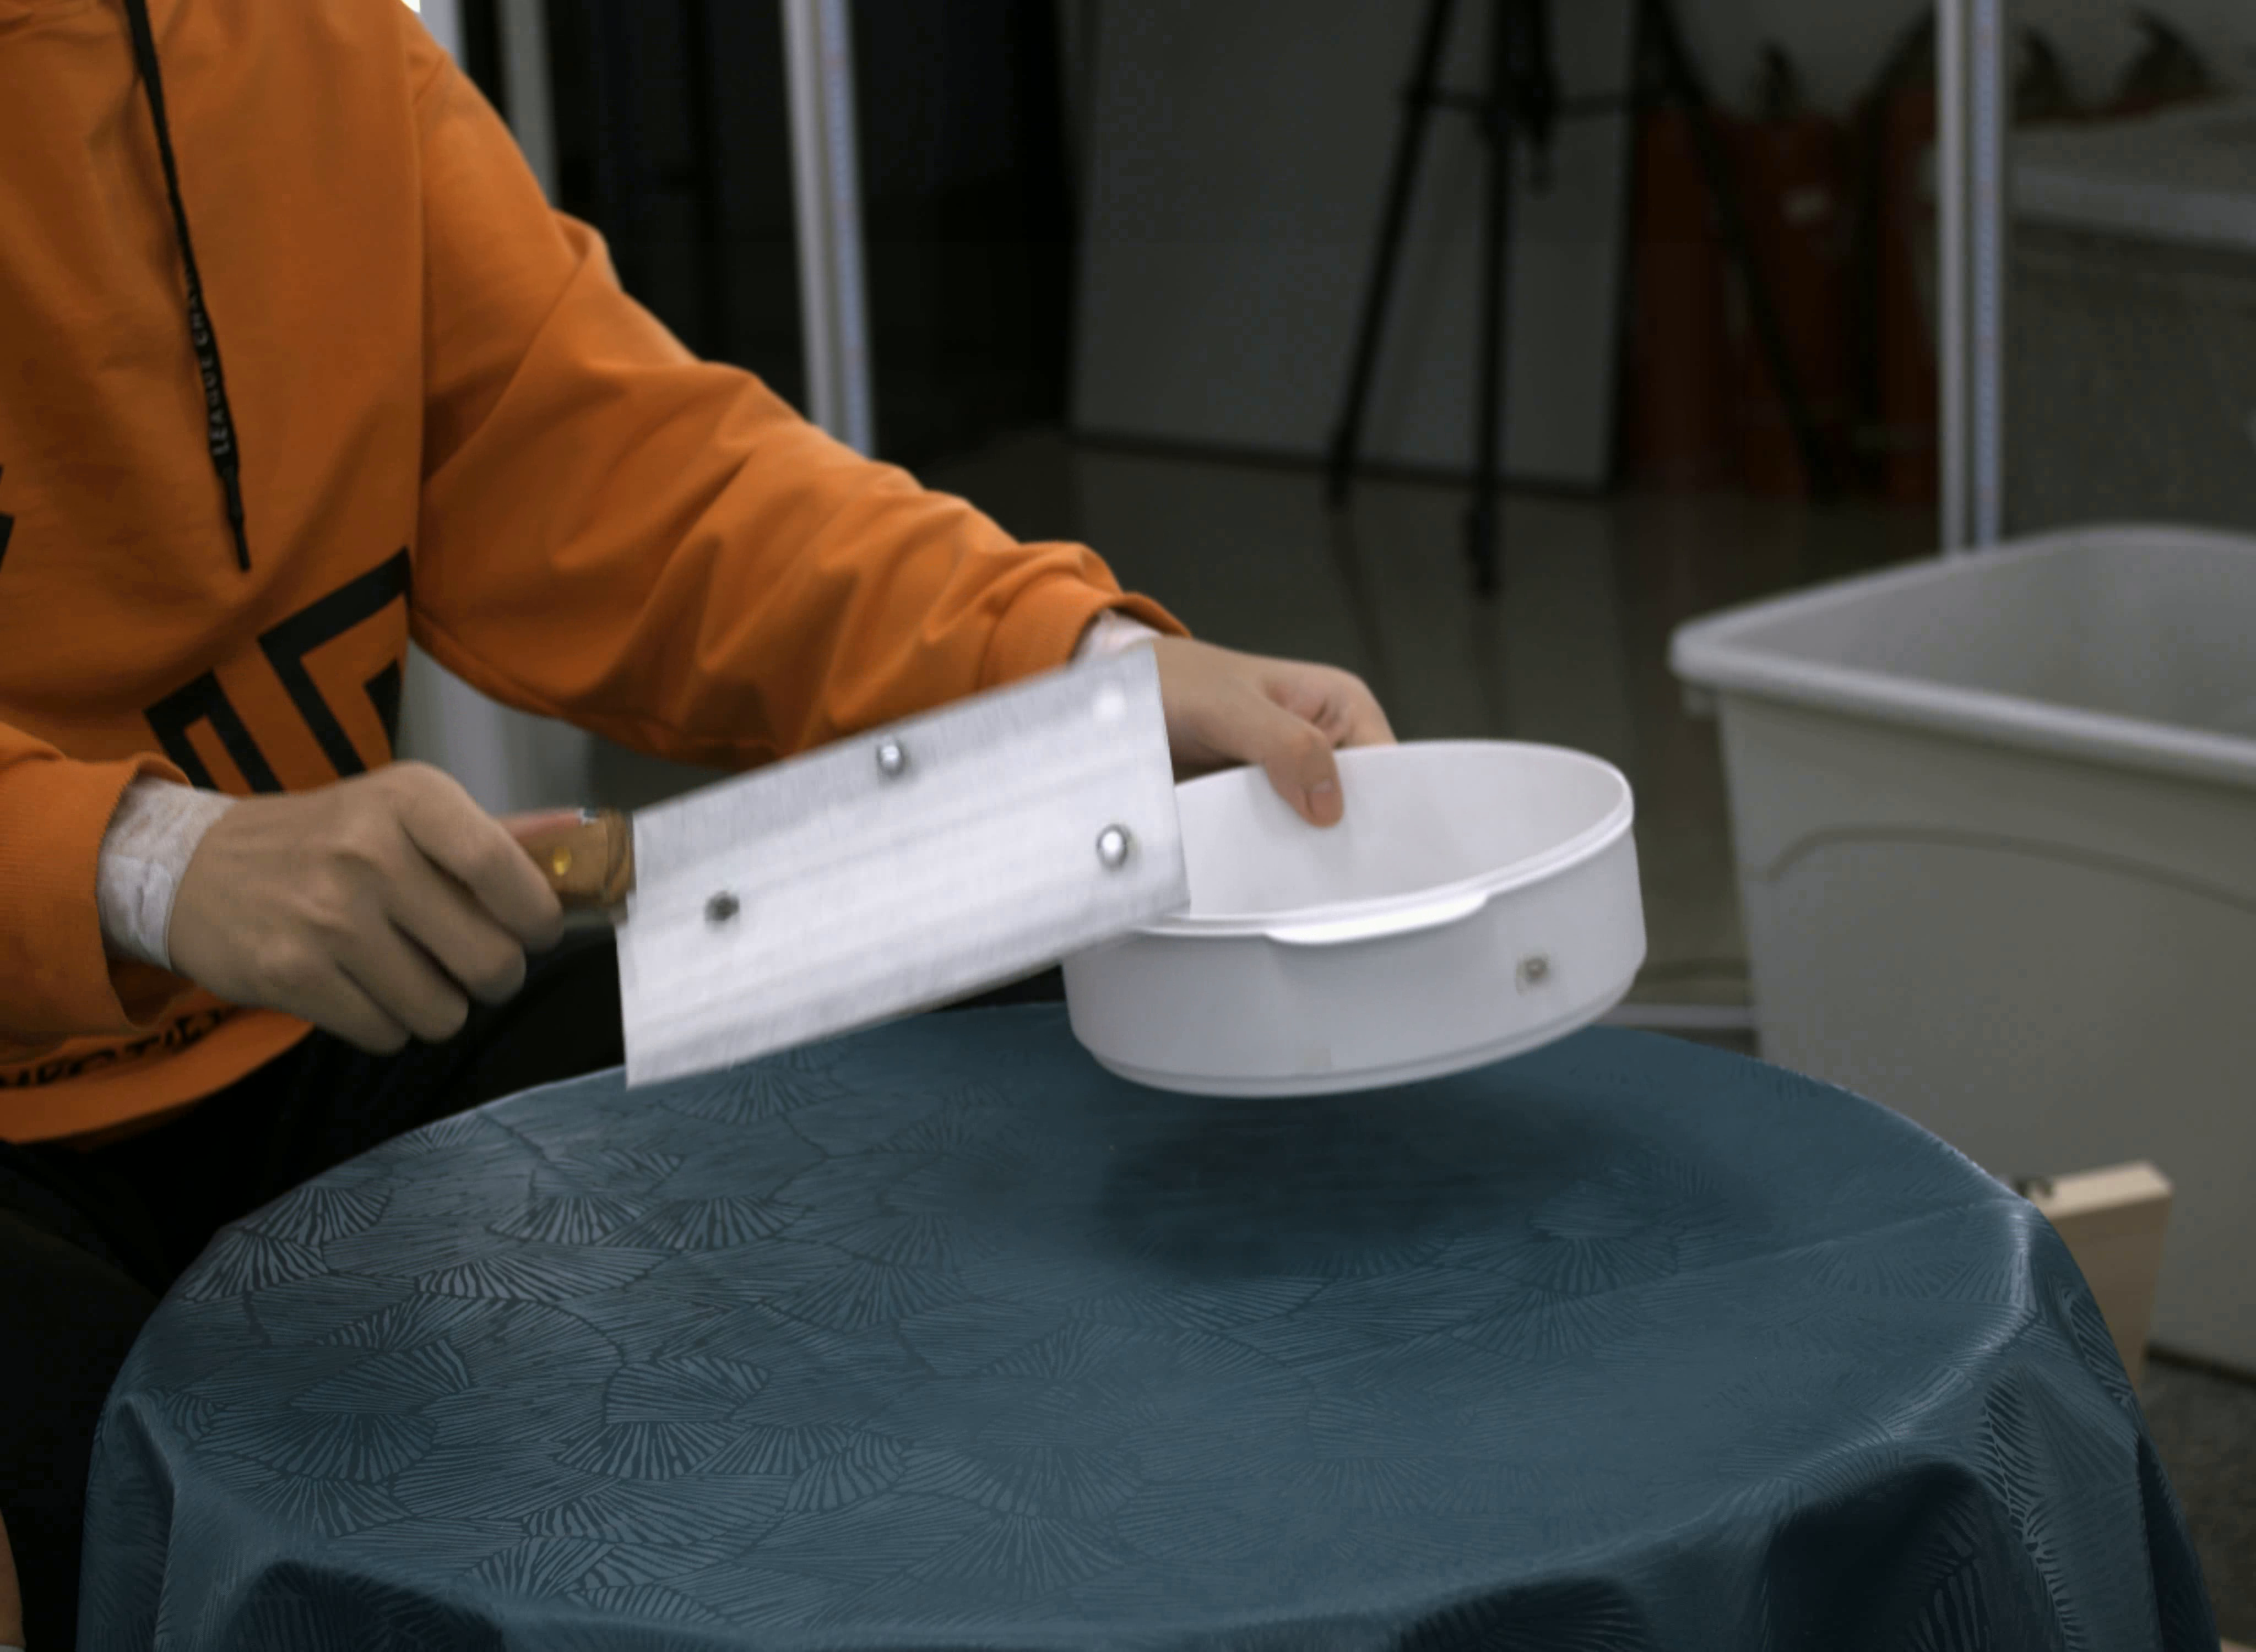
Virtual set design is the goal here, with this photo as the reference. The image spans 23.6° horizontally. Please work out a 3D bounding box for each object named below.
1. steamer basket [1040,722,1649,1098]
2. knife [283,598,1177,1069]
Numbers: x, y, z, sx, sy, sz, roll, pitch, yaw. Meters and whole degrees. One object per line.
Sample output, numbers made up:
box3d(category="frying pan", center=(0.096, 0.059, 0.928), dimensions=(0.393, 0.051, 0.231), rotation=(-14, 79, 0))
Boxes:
box3d(category="steamer basket", center=(0.073, 0.028, 1.770), dimensions=(0.199, 0.070, 0.231), rotation=(-12, 16, -2))
box3d(category="knife", center=(-0.122, 0.020, 1.620), dimensions=(0.306, 0.094, 0.020), rotation=(-20, -25, 22))
